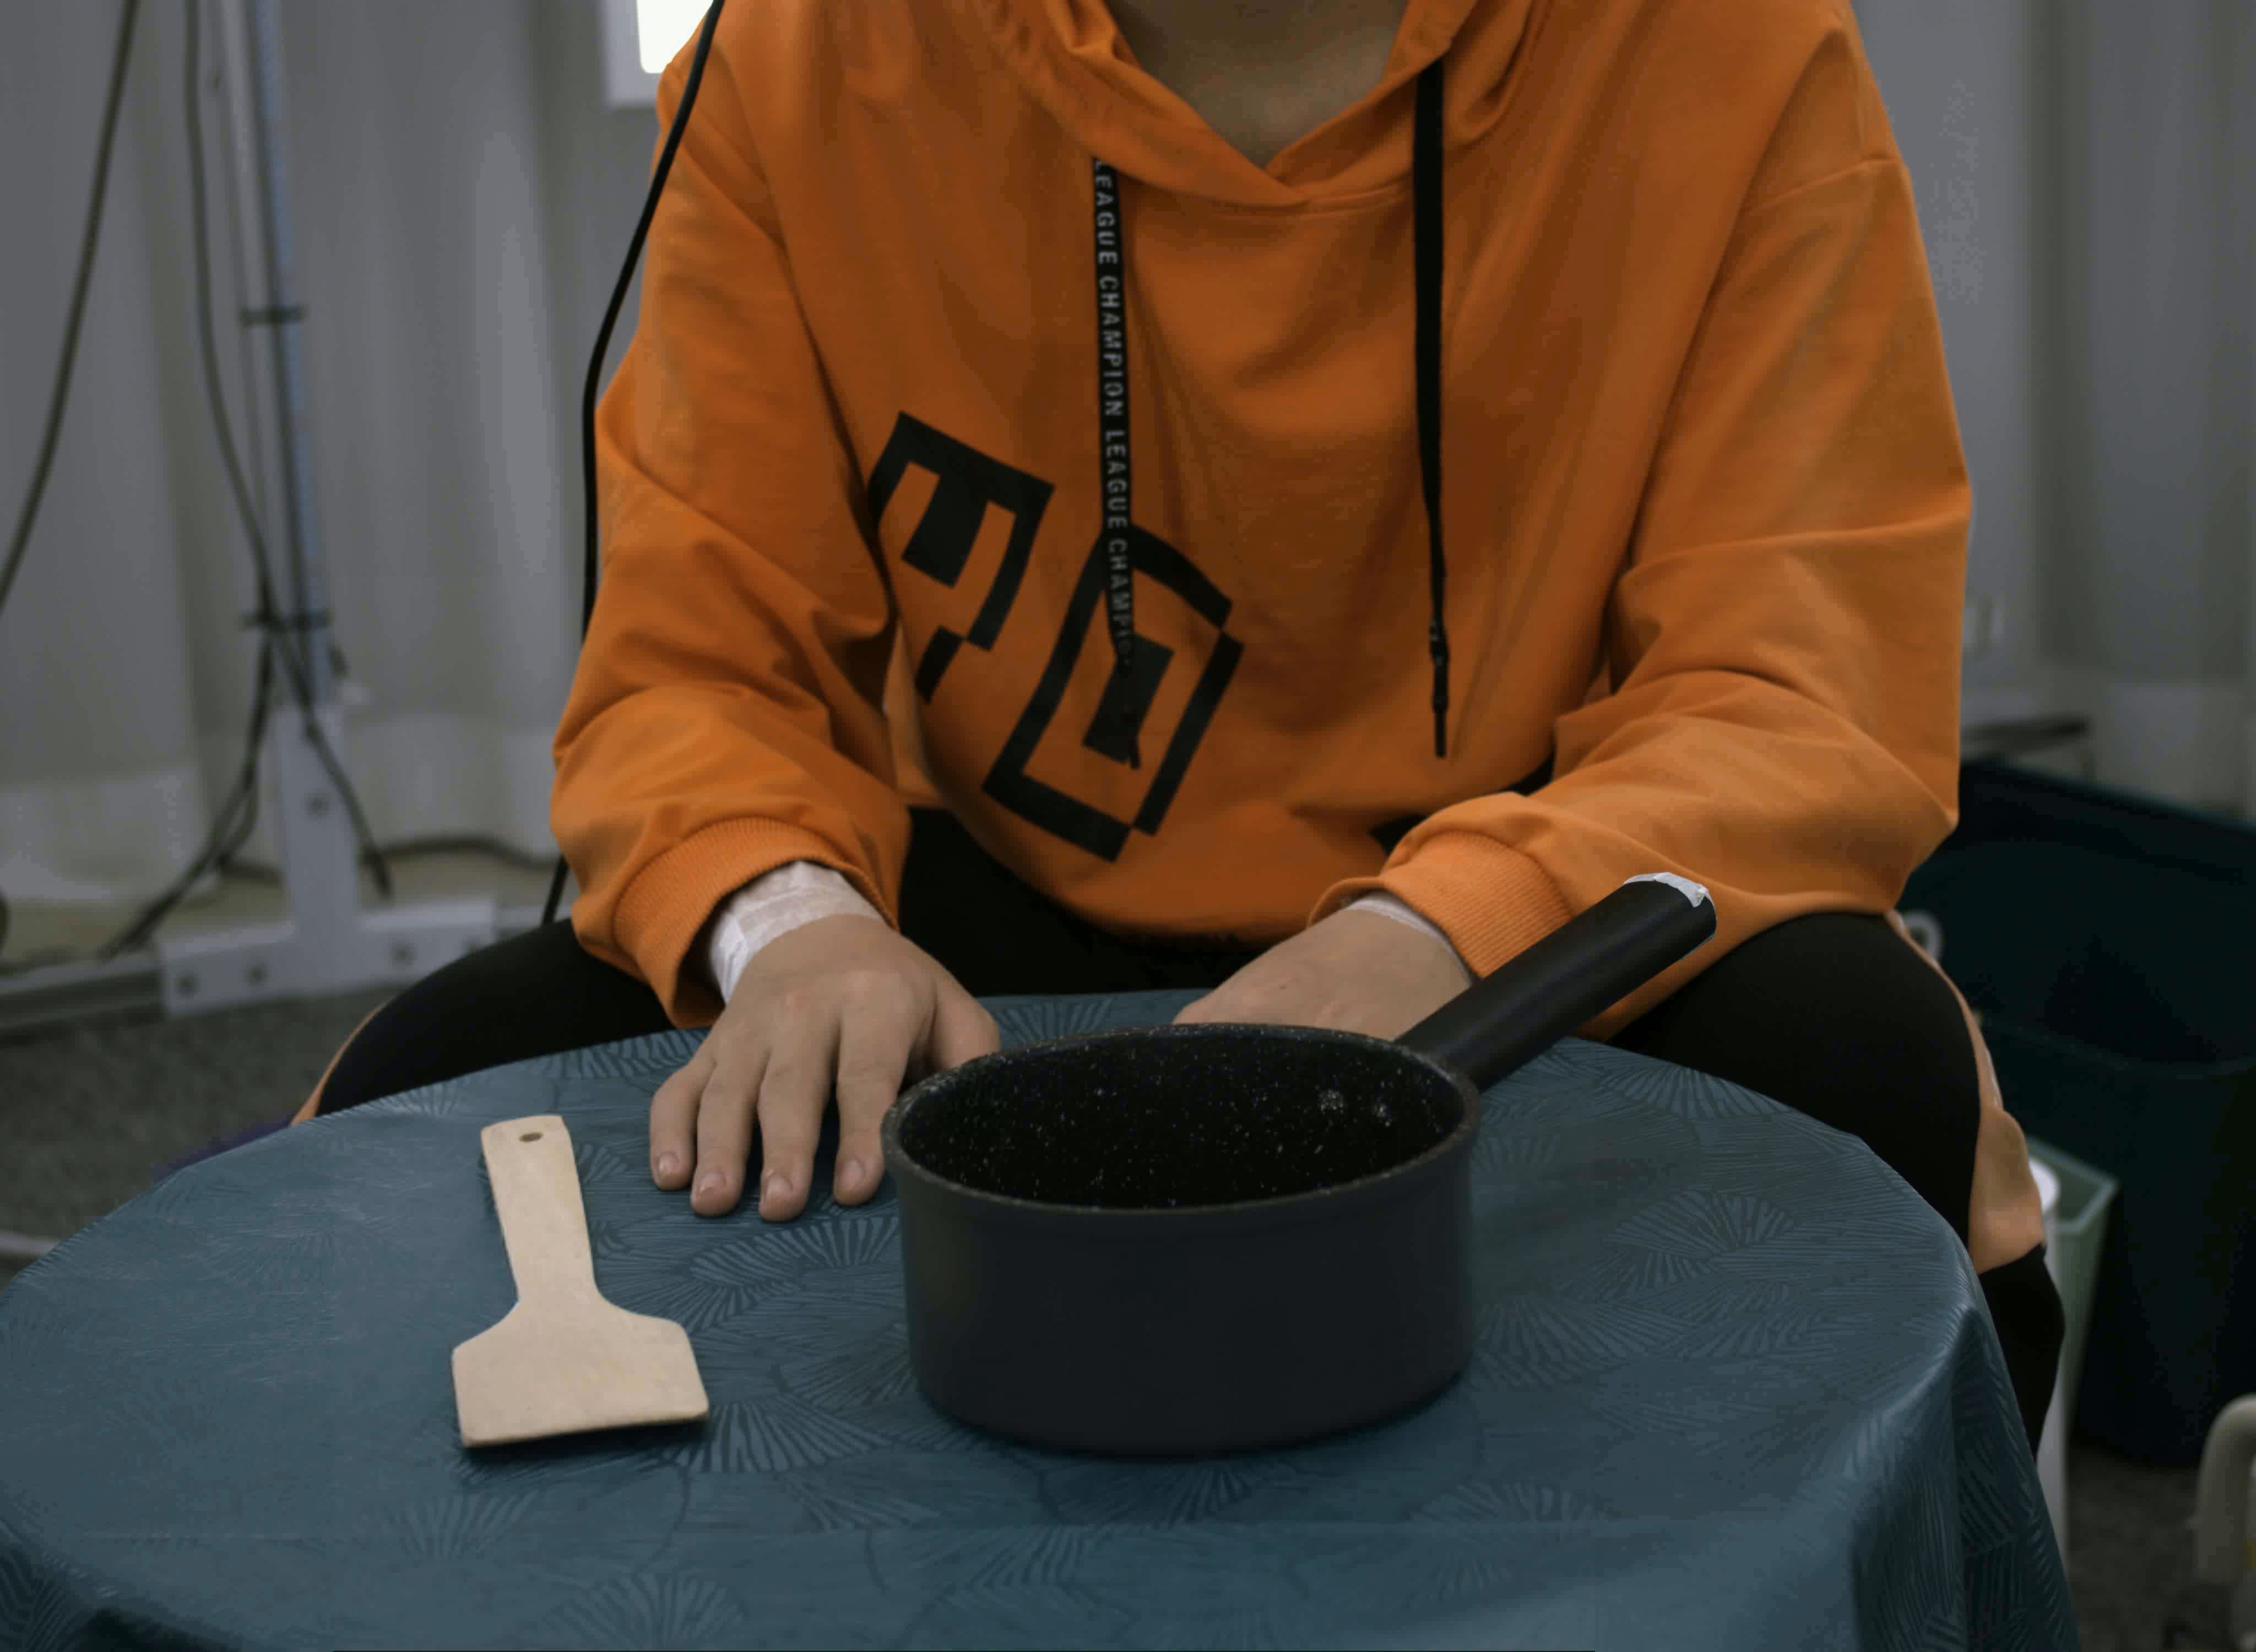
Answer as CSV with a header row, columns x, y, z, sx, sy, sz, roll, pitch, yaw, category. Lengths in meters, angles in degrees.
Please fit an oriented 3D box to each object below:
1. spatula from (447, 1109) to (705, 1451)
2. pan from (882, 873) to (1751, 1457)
x,y,z,sx,sy,sz,roll,pitch,yaw,category
-0.175,0.134,1.660,0.072,0.010,0.295,-8,16,-7,spatula
0.071,0.096,1.611,0.173,0.086,0.328,12,23,43,pan
